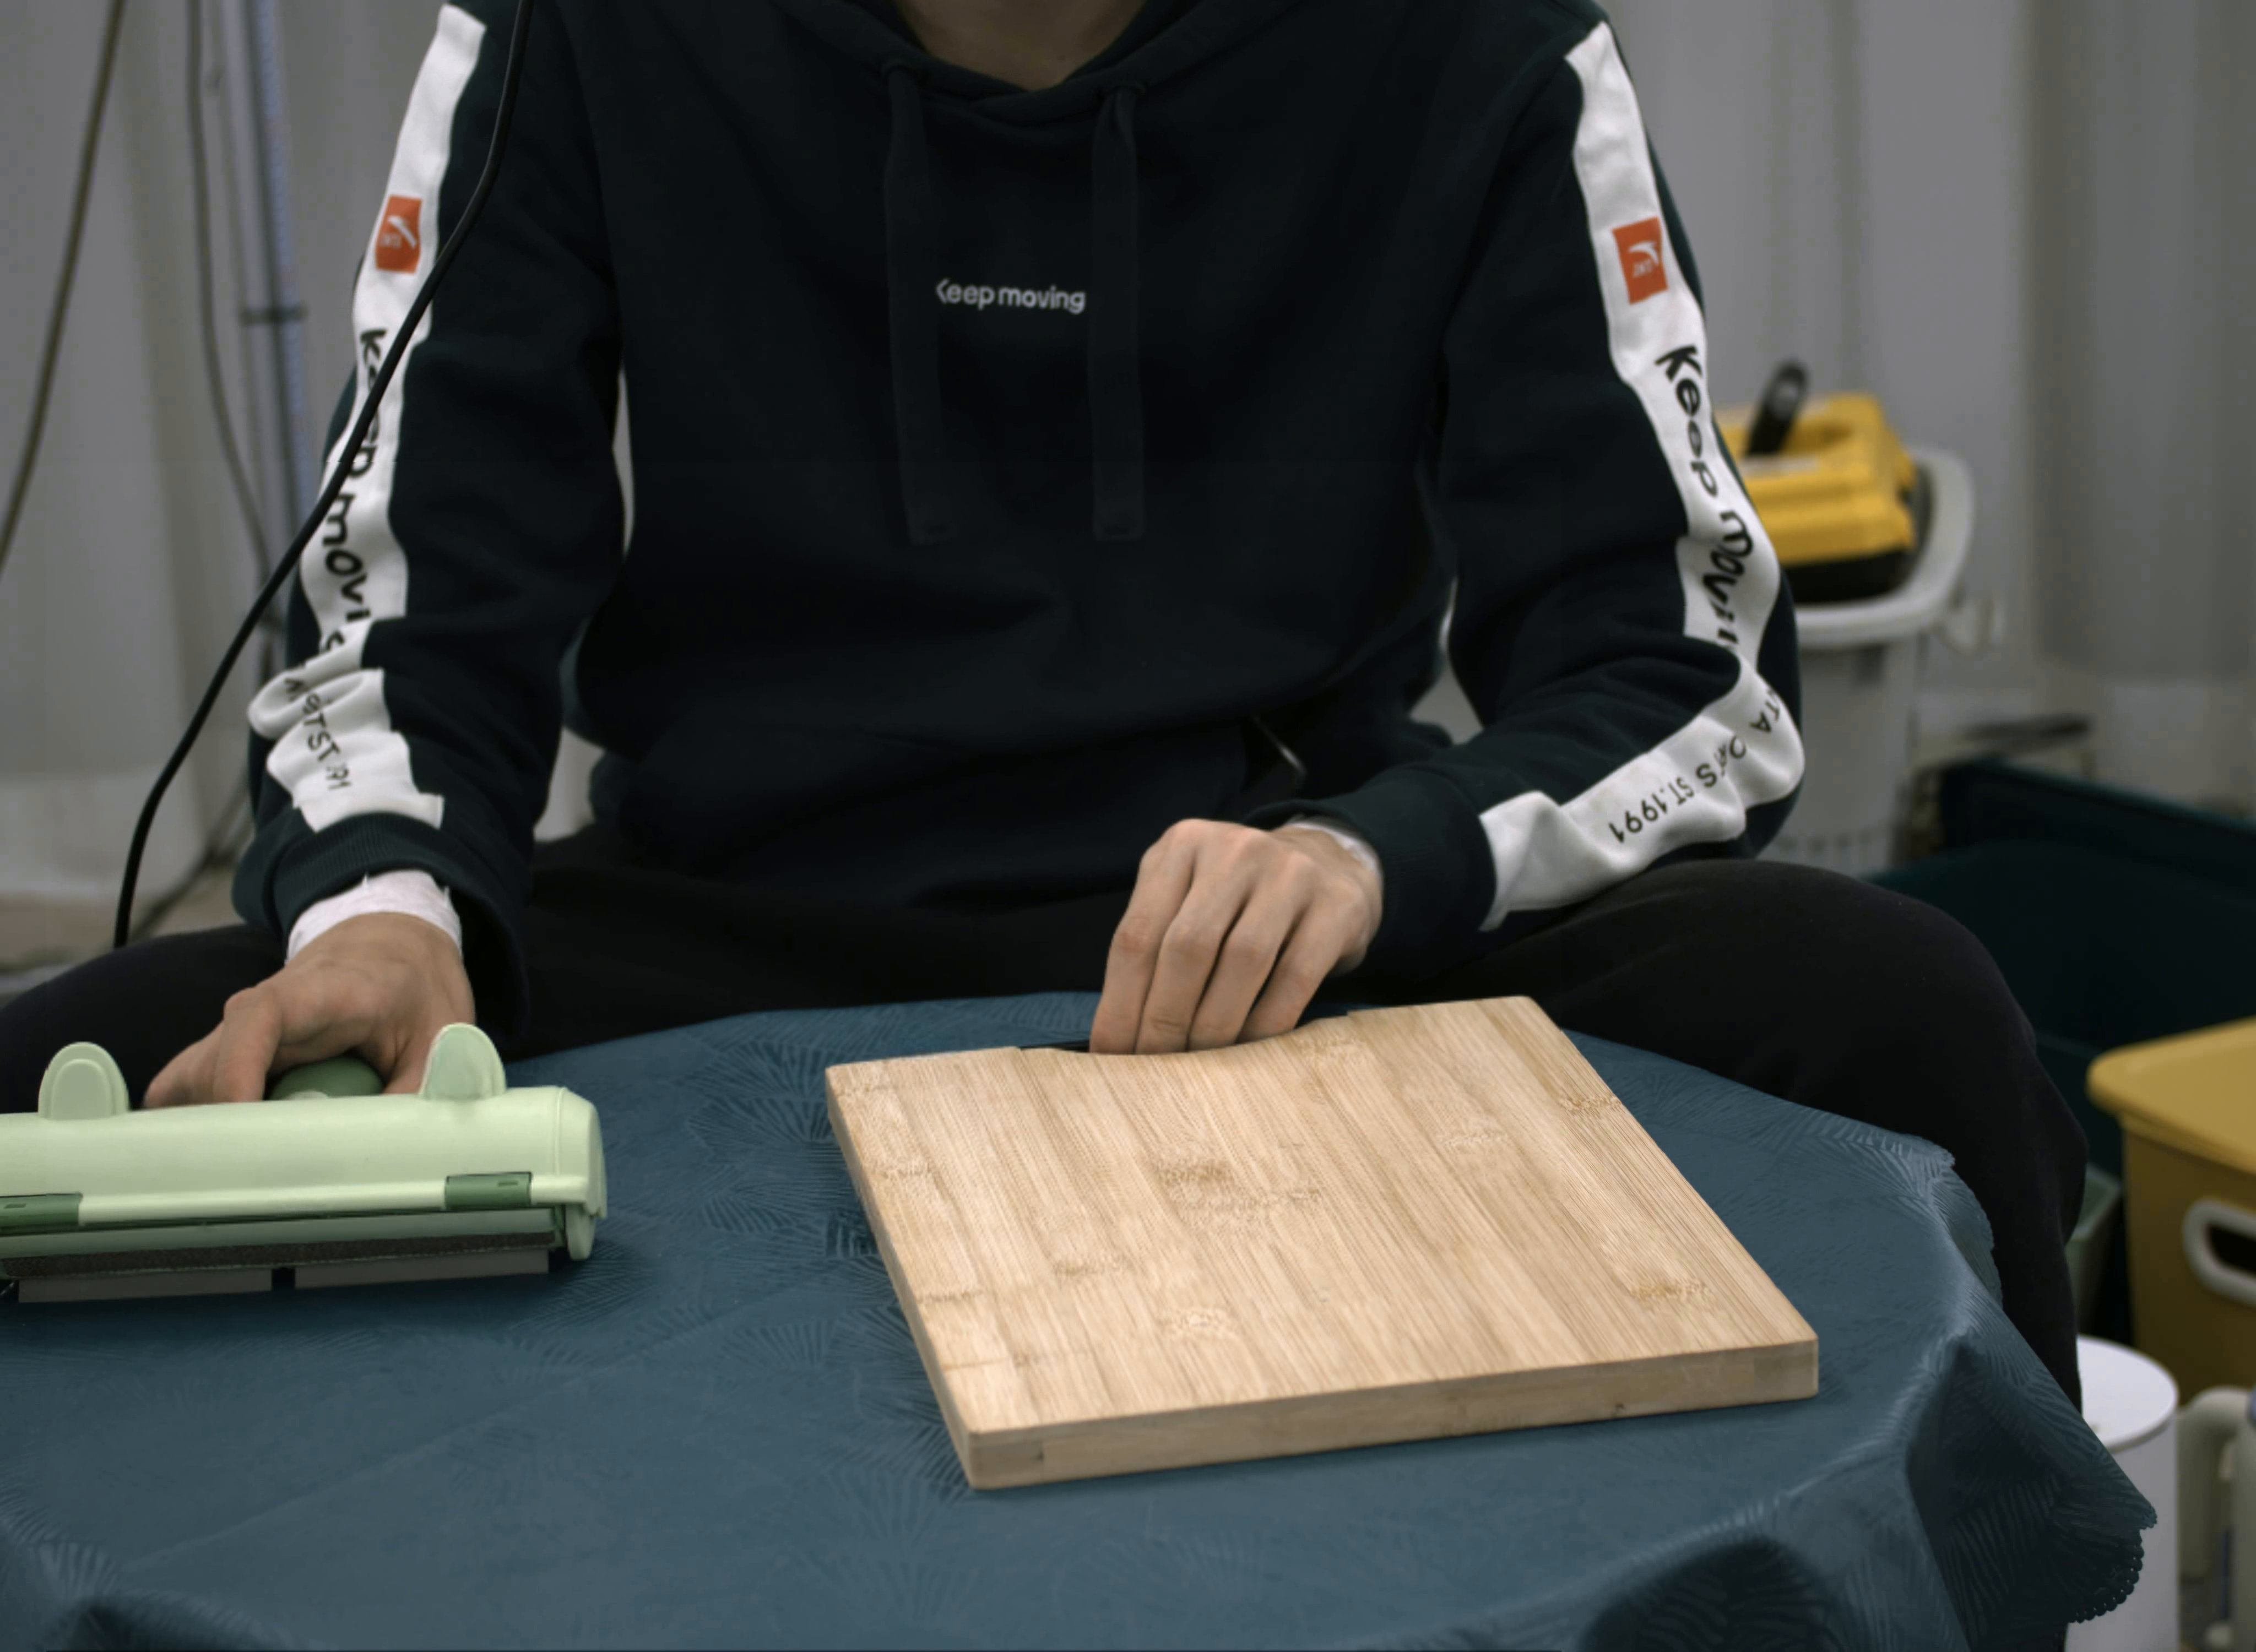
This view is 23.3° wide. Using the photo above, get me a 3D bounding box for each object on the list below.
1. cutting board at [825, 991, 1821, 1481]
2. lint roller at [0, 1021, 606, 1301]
[{"bbox_3d":[0.046,0.119,1.659,0.249,0.023,0.351,-5,15,-9],"label":"cutting board"},{"bbox_3d":[-0.260,0.085,1.720,0.198,0.081,0.185,-3,21,1],"label":"lint roller"}]
